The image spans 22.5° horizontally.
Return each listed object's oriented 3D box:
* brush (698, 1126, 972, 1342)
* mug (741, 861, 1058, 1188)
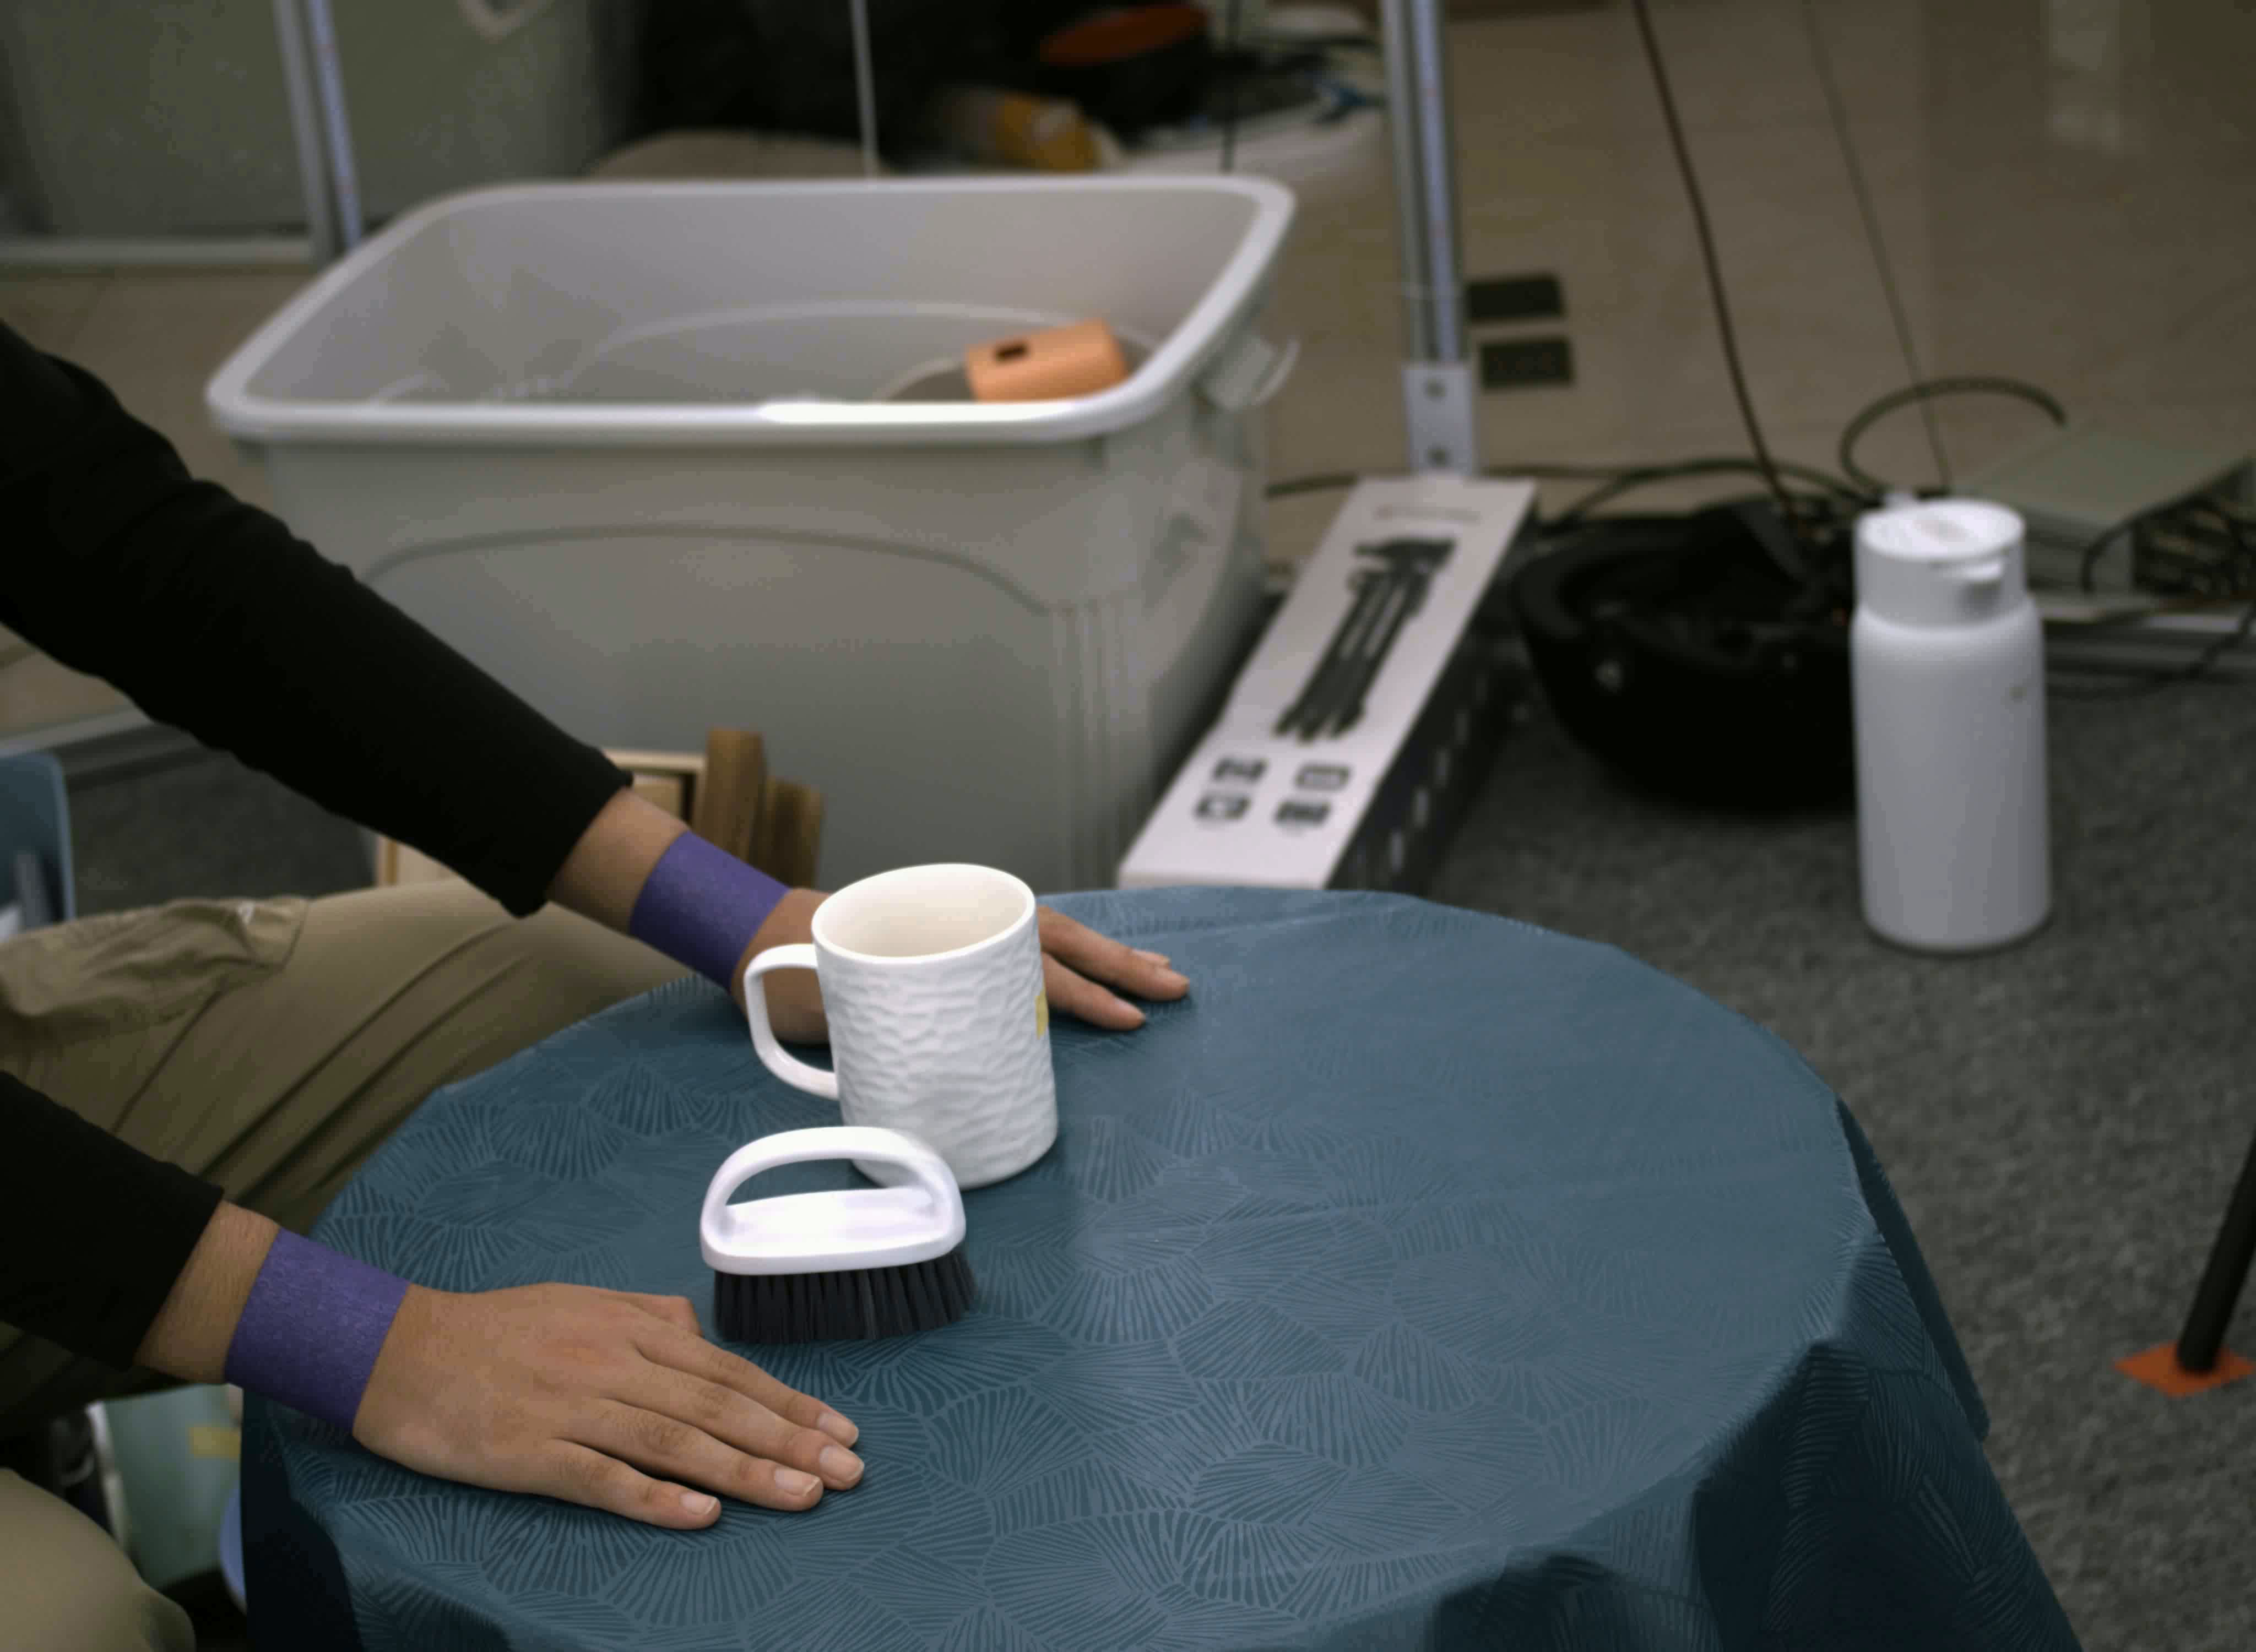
[{"bbox_3d":[-0.109,0.144,2.072,0.099,0.073,0.049,-3,24,6],"label":"brush"},{"bbox_3d":[-0.089,0.077,2.176,0.118,0.103,0.084,-1,26,13],"label":"mug"}]
